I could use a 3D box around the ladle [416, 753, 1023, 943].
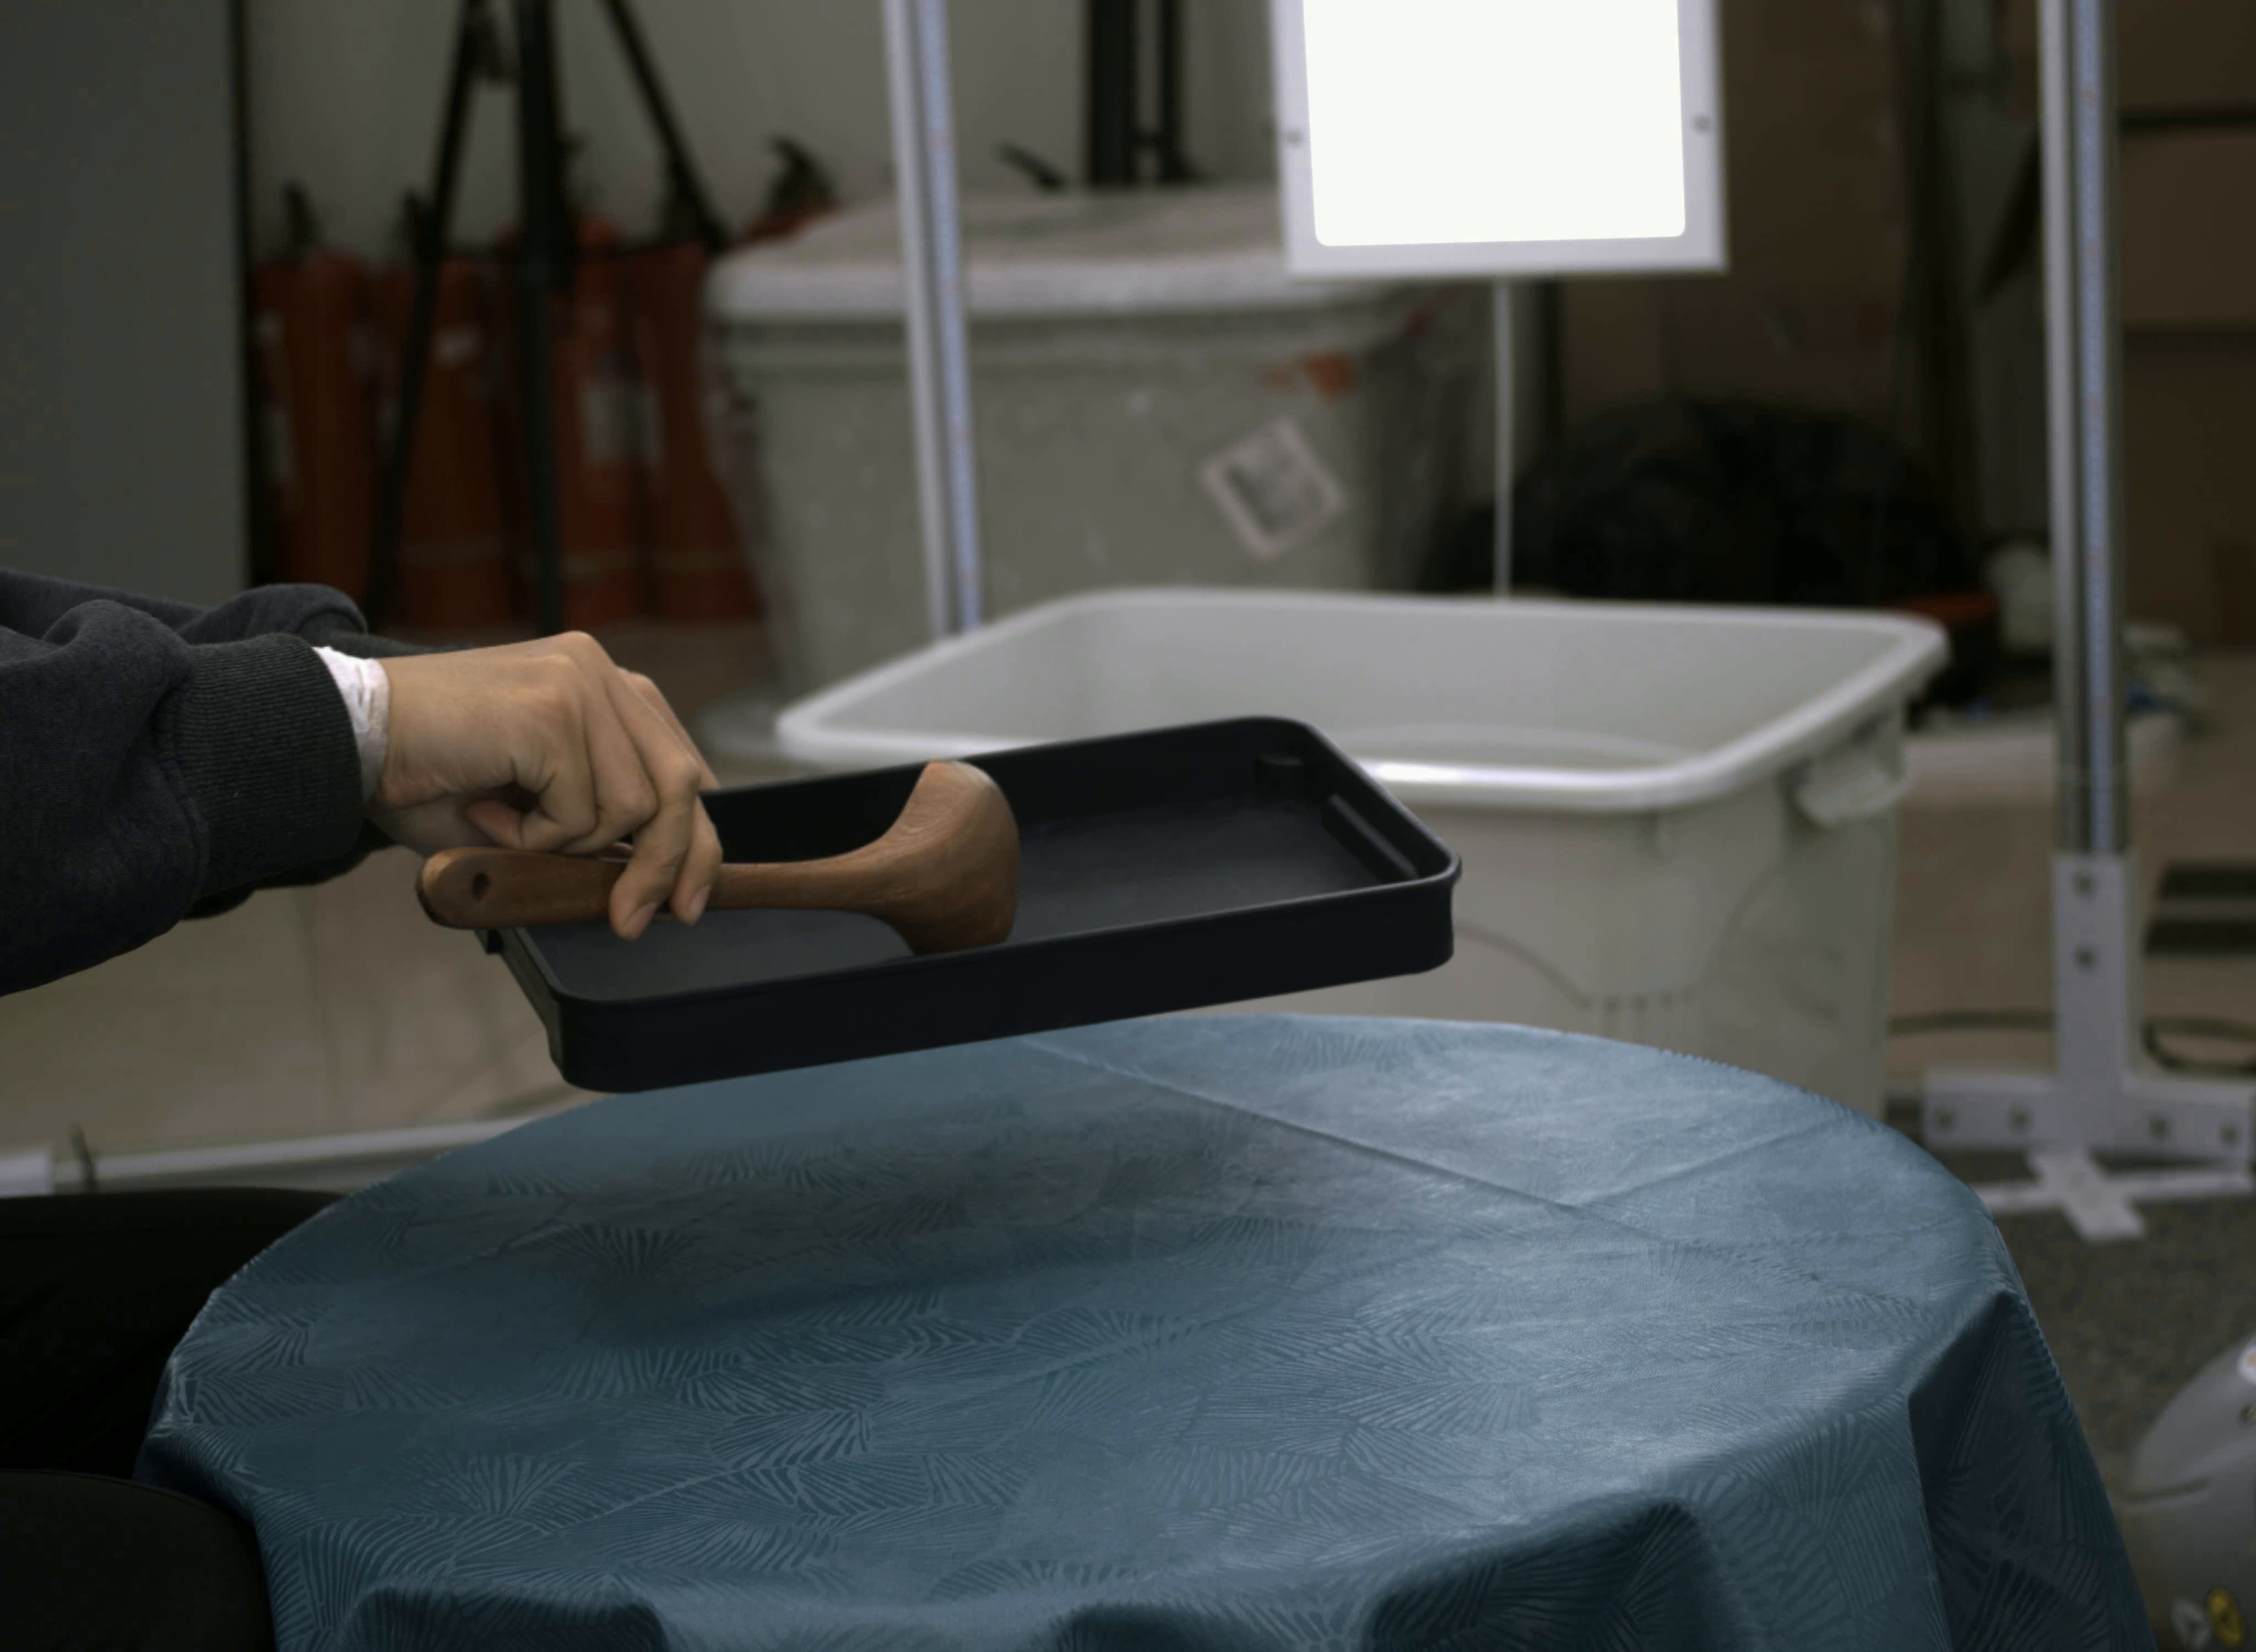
[{"bbox_3d":[-0.133,0.016,1.786,0.253,0.077,0.066,-1,4,-38],"label":"ladle"}]

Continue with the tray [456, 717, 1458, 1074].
[{"bbox_3d":[-0.061,0.020,1.891,0.313,0.037,0.186,-7,21,-15],"label":"tray"}]
